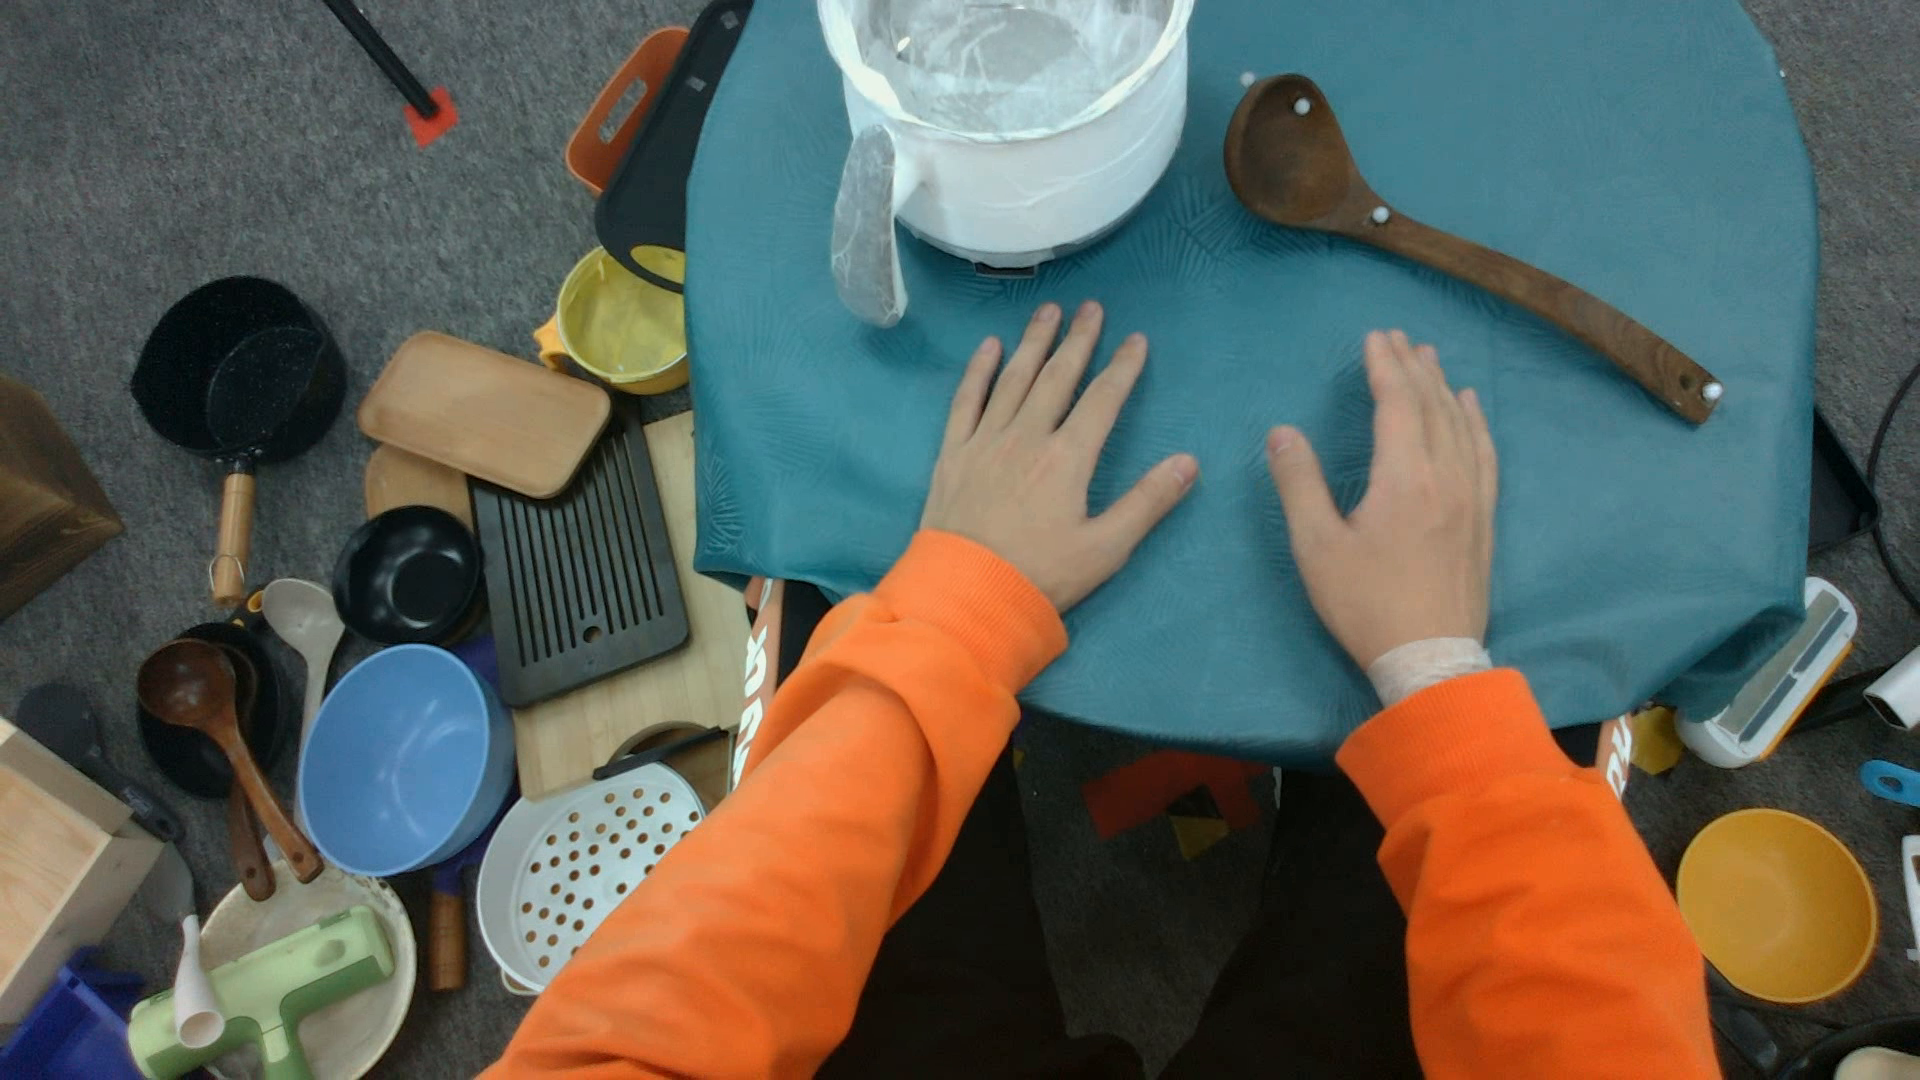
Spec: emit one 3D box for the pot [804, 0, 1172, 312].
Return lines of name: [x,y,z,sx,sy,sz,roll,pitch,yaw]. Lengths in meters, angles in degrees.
pot: [0.004,-0.227,0.696,0.179,0.136,0.234,31,77,14]

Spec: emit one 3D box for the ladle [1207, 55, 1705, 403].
ladle: [0.248,-0.154,0.685,0.274,0.071,0.076,32,82,15]
